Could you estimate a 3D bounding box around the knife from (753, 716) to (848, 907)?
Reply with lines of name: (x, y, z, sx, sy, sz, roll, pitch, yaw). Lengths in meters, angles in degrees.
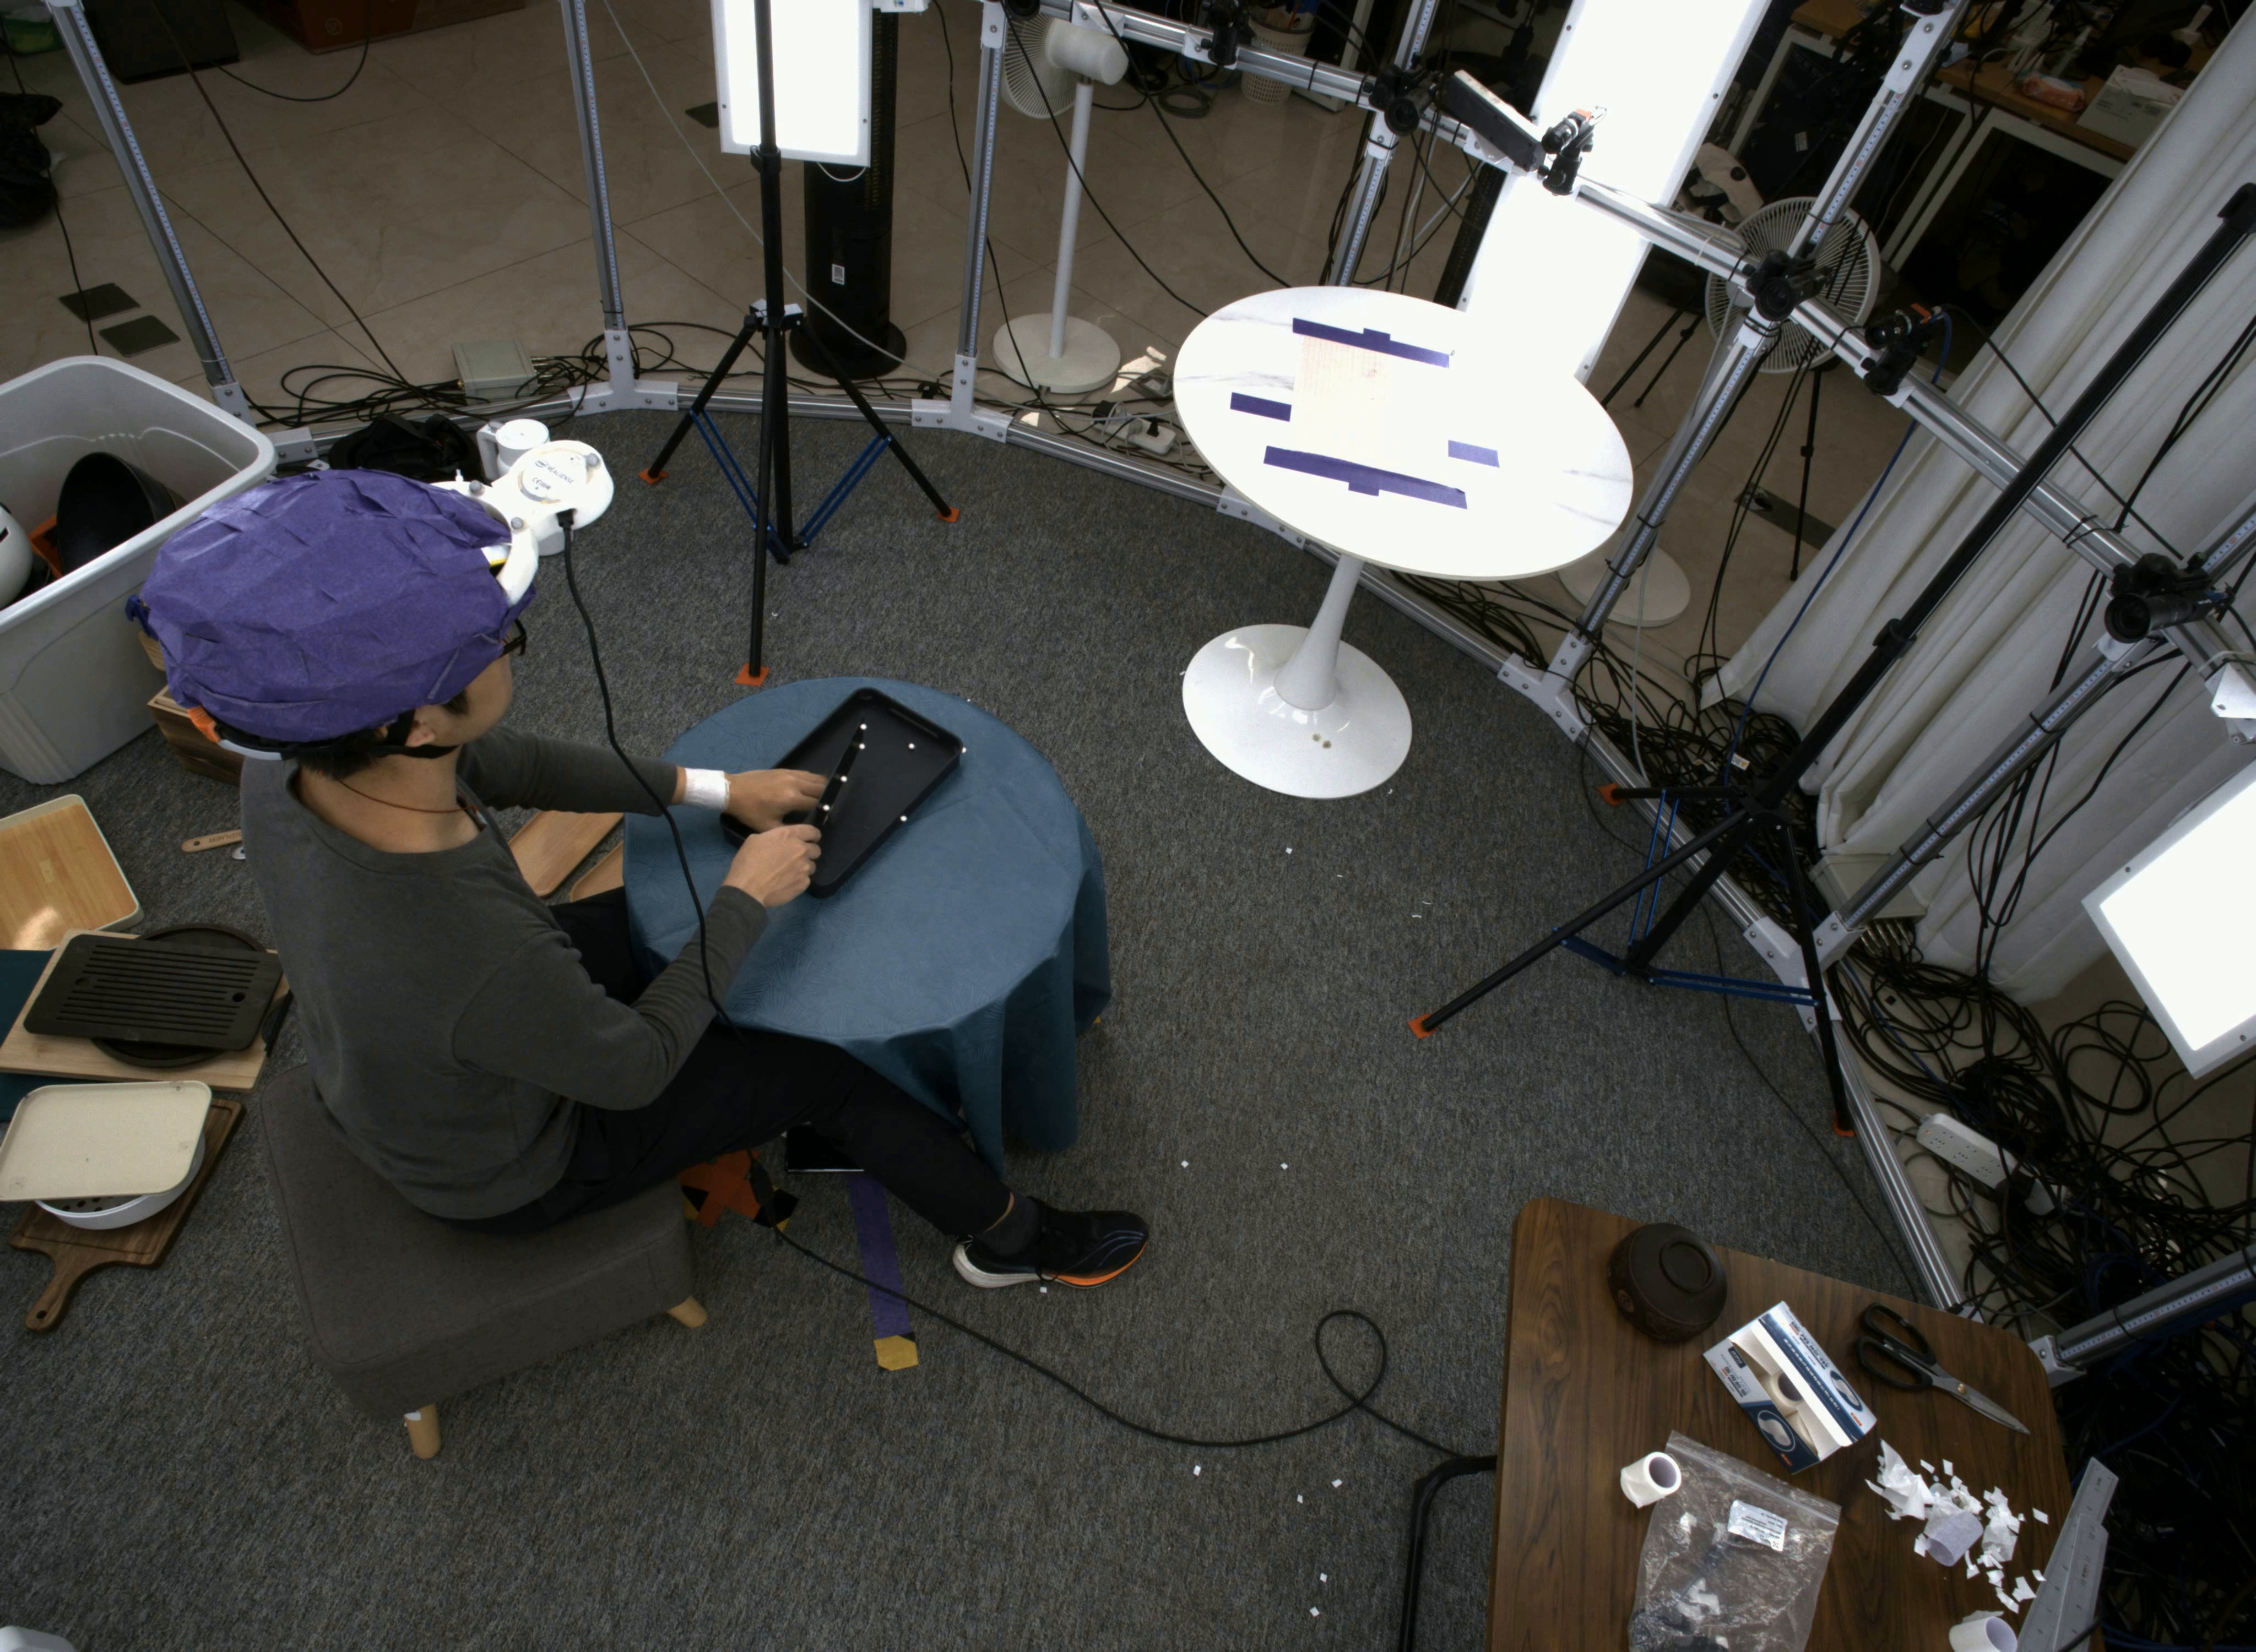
knife: (-0.413, -0.019, 1.660, 0.020, 0.082, 0.298, 16, 49, 1)

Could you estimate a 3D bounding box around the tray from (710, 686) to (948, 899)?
tray: (-0.399, -0.053, 1.757, 0.181, 0.038, 0.316, 29, 52, 8)
